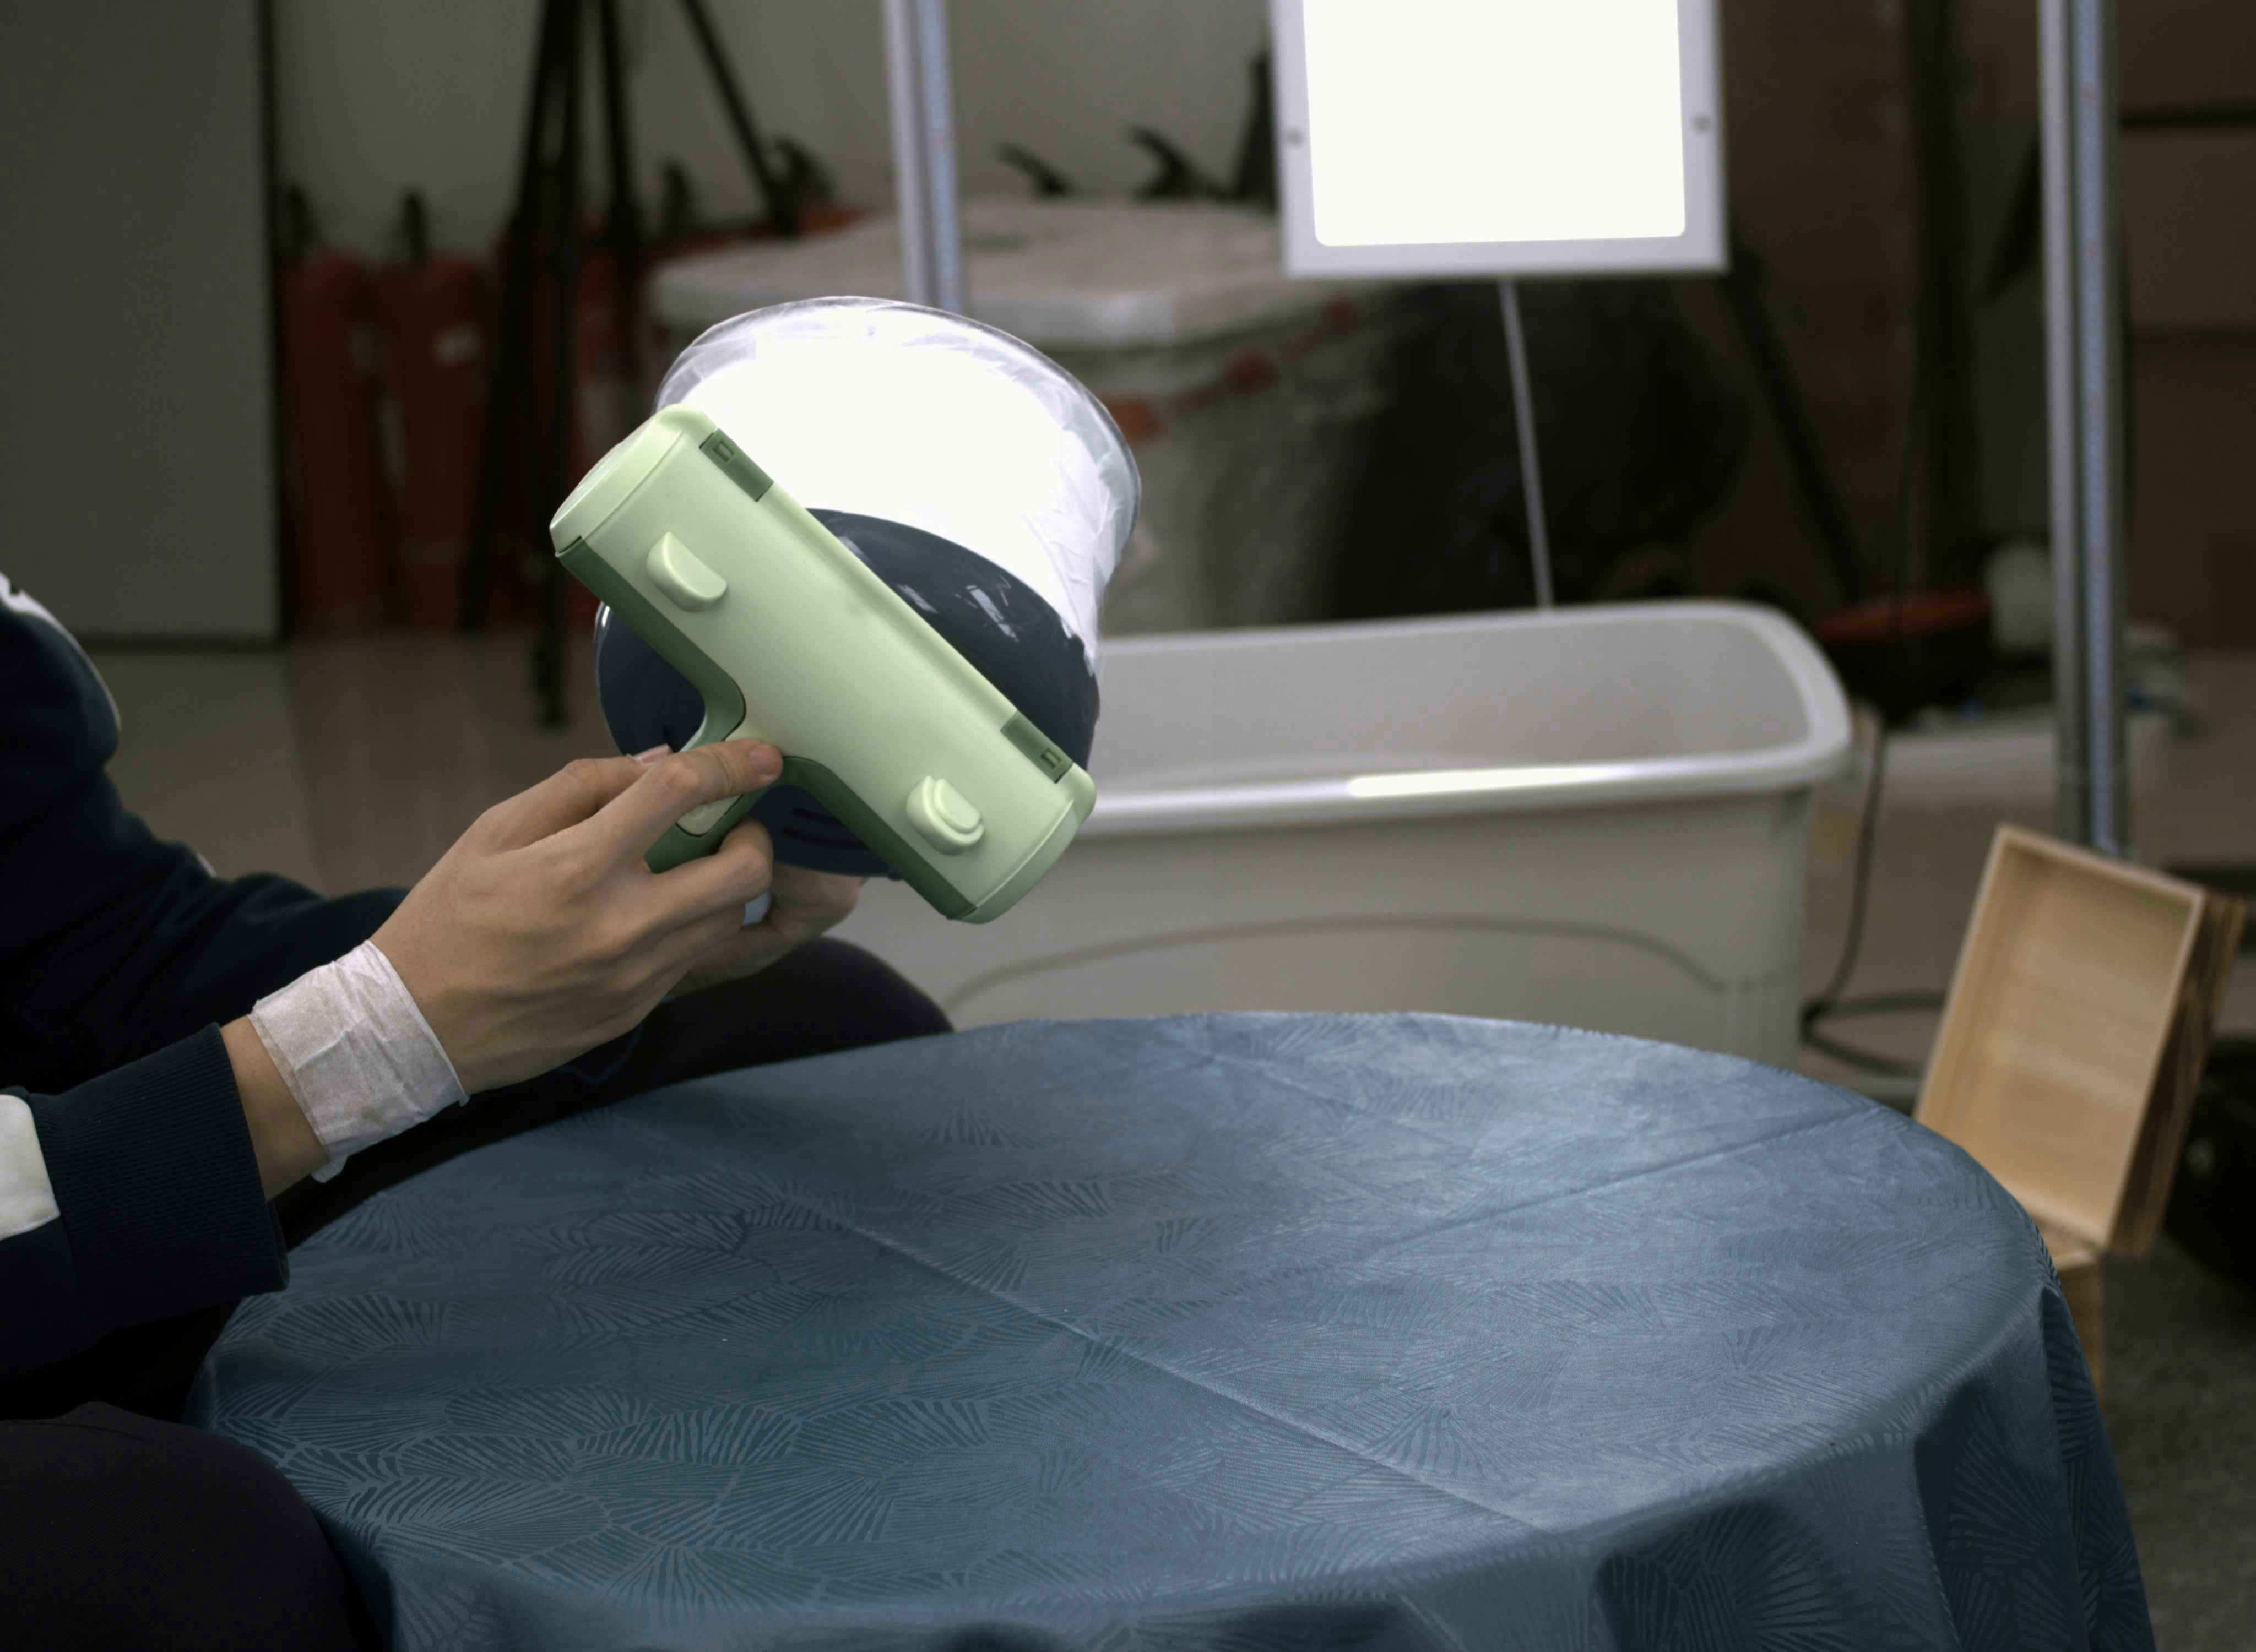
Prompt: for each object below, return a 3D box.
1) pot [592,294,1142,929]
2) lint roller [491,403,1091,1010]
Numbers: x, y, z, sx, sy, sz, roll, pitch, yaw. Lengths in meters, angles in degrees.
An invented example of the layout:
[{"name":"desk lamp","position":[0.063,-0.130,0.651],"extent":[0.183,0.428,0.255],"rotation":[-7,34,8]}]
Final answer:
[{"name":"pot","position":[-0.102,-0.063,1.938],"extent":[0.177,0.237,0.135],"rotation":[20,54,-10]},{"name":"lint roller","position":[-0.138,-0.008,1.789],"extent":[0.183,0.197,0.083],"rotation":[-48,11,-4]}]
